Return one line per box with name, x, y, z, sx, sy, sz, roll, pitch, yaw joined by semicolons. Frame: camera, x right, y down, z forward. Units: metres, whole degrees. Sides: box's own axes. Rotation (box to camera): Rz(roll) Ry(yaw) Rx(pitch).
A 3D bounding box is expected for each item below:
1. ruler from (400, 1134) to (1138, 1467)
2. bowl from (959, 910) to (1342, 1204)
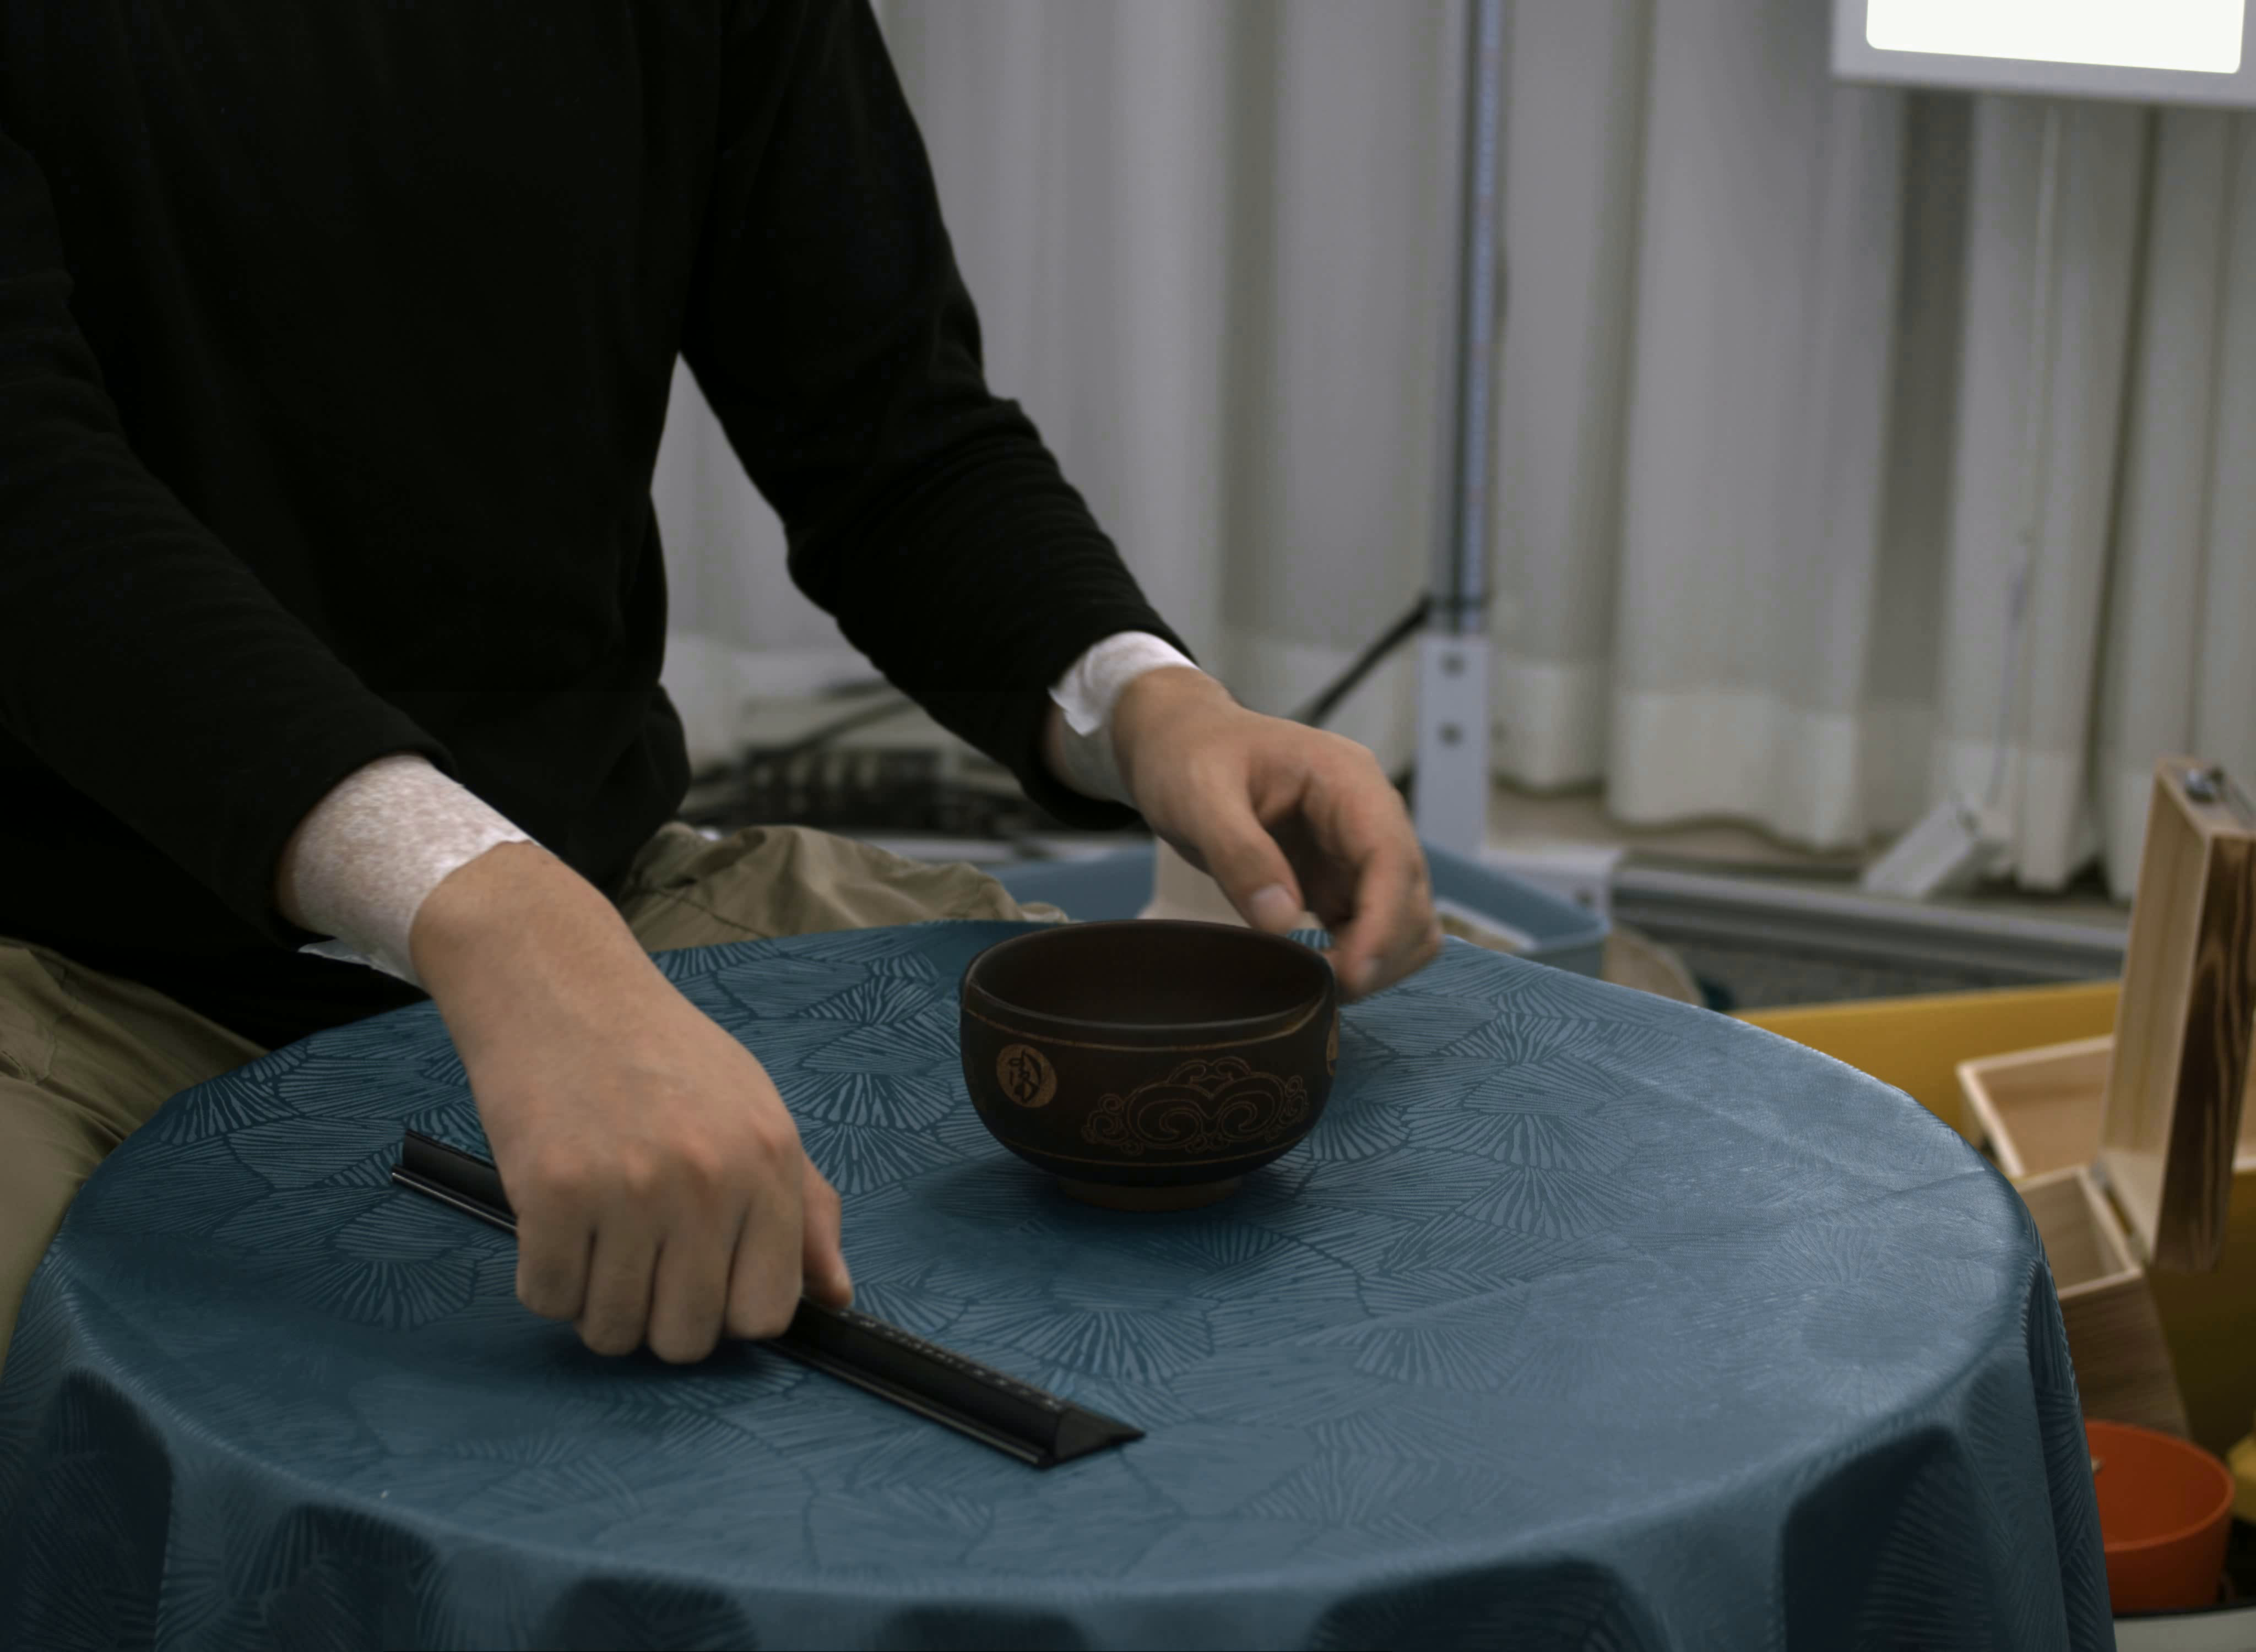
ruler;-0.110;0.131;1.523;0.039;0.017;0.308;-8;17;-41
bowl;0.007;0.075;1.619;0.117;0.070;0.117;2;16;0
